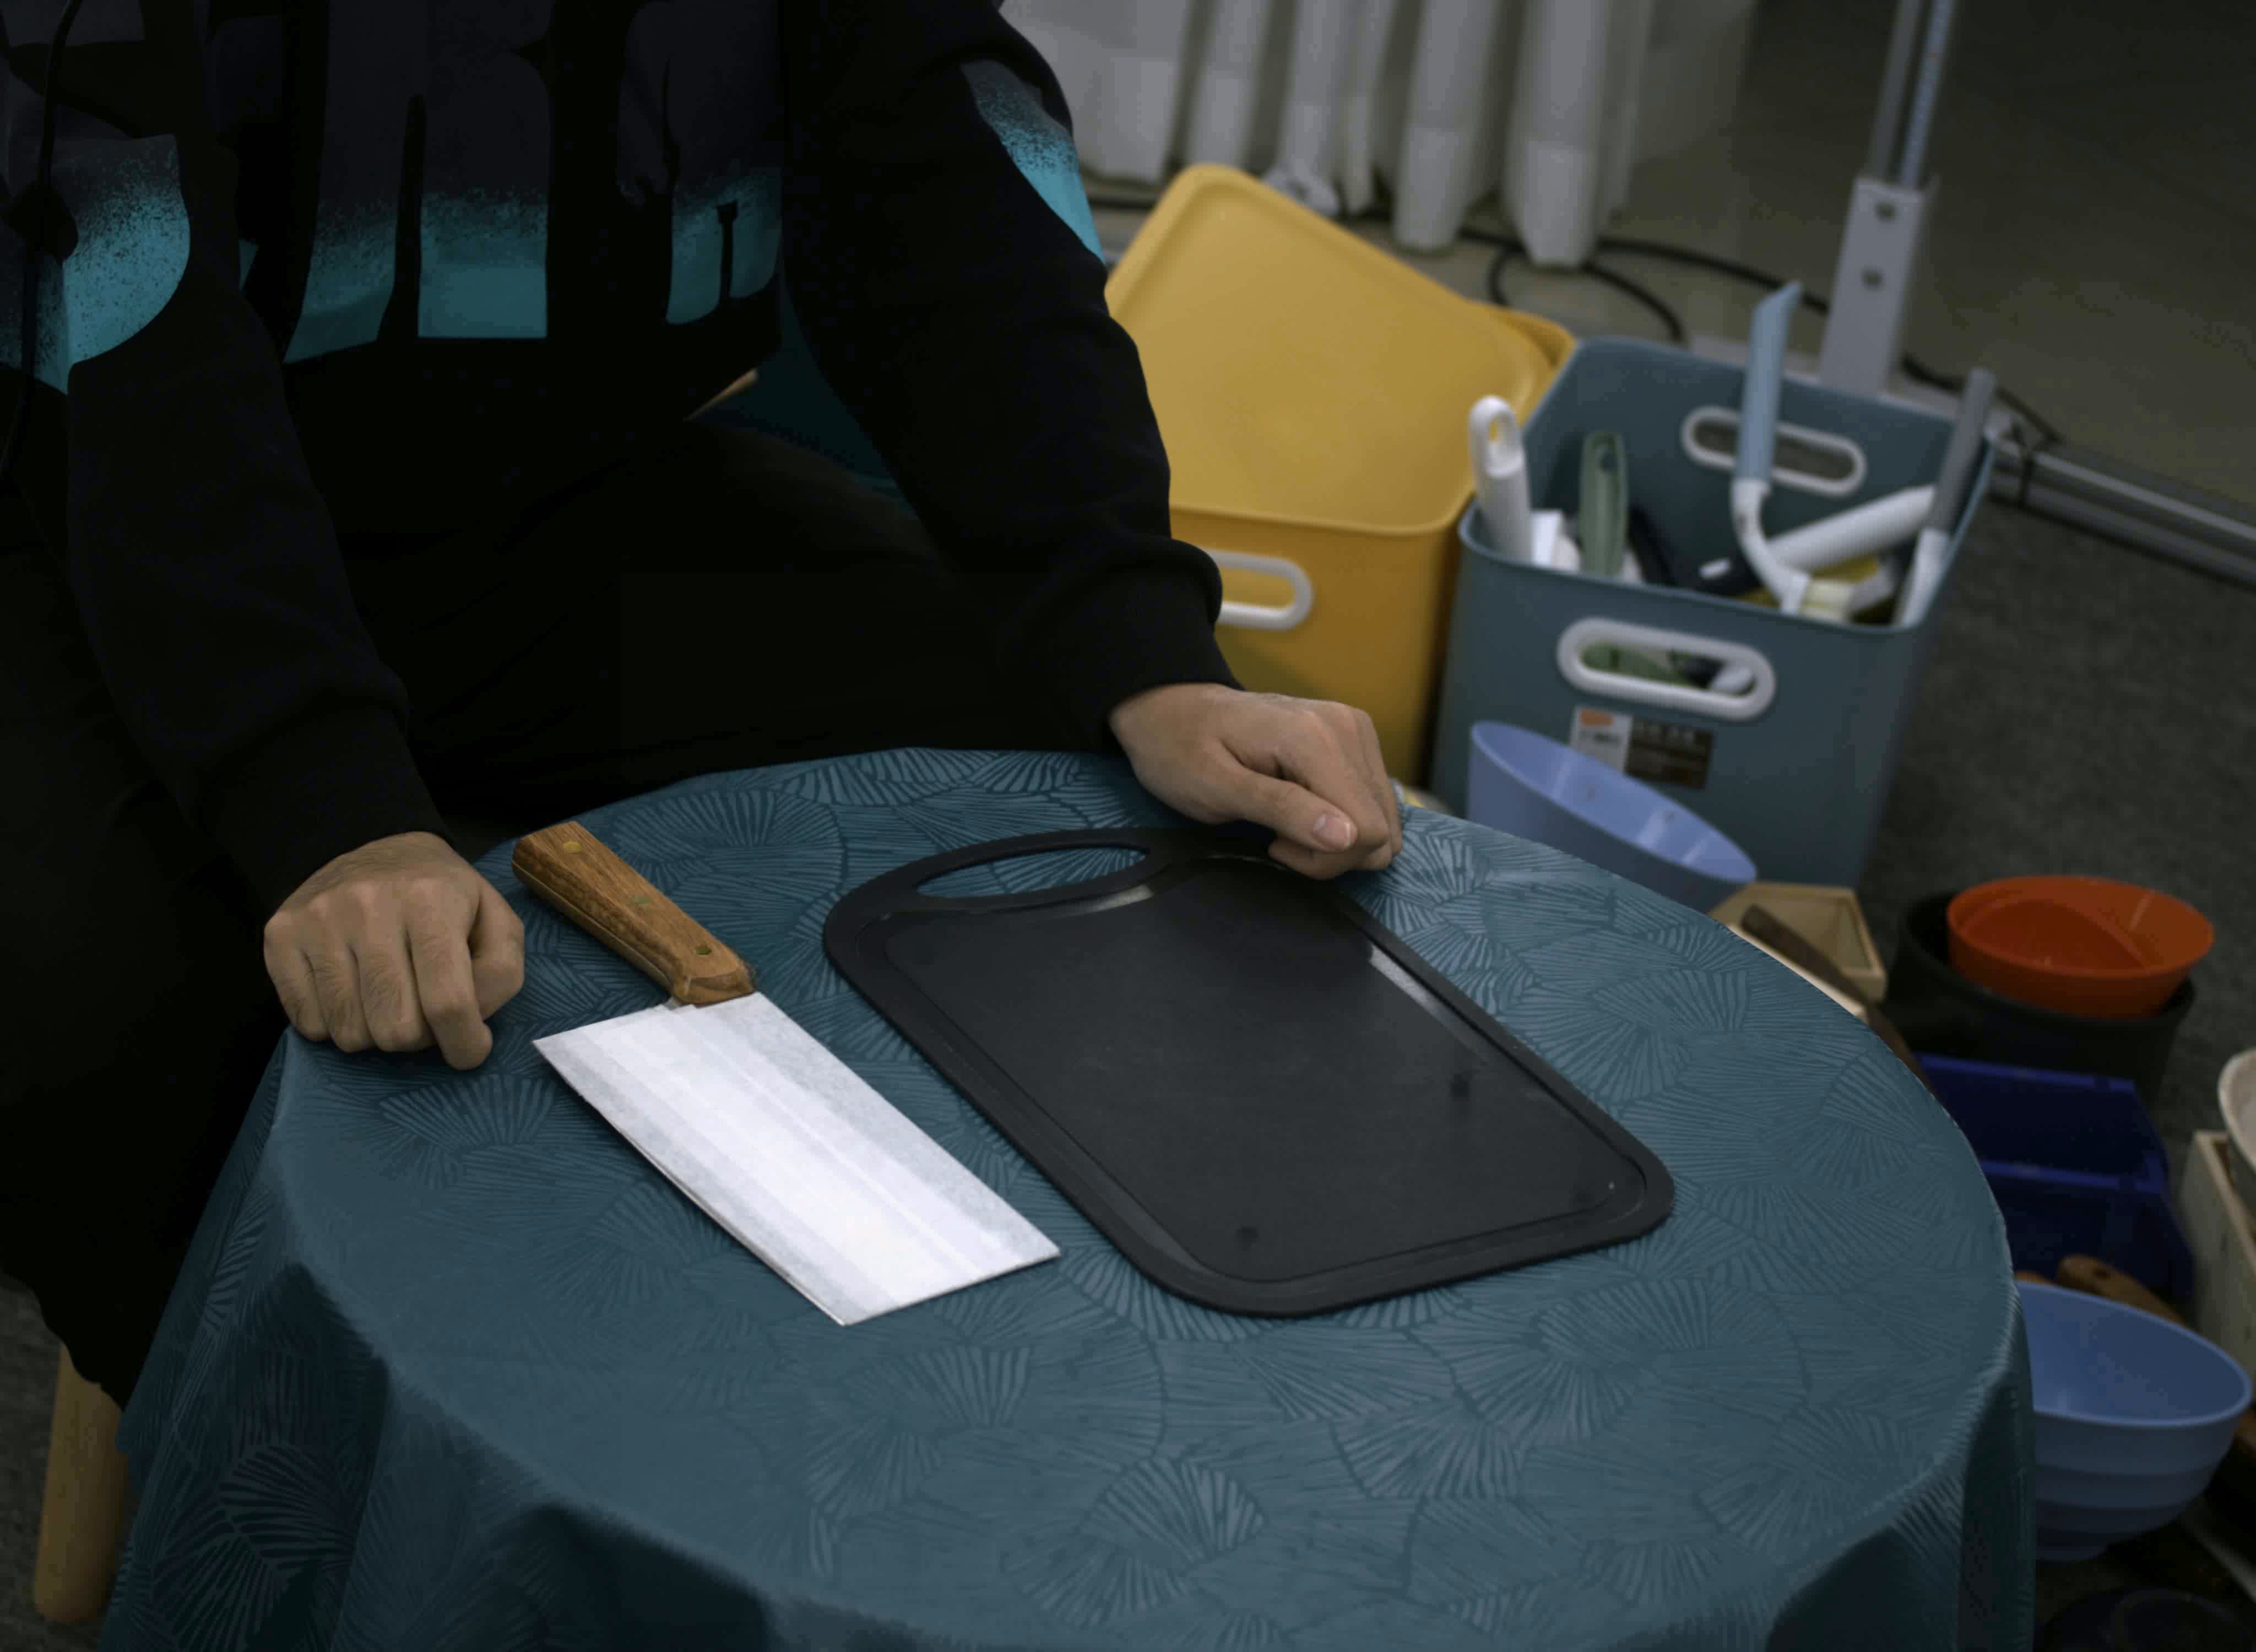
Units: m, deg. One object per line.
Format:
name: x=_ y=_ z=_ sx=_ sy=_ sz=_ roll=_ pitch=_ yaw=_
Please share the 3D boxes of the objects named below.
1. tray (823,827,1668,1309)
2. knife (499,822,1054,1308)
tray: x=0.033 y=0.077 z=1.894 sx=0.210 sy=0.010 sz=0.328 roll=-10 pitch=31 yaw=-29
knife: x=-0.147 y=0.082 z=1.836 sx=0.092 sy=0.021 sz=0.308 roll=-16 pitch=37 yaw=-34
